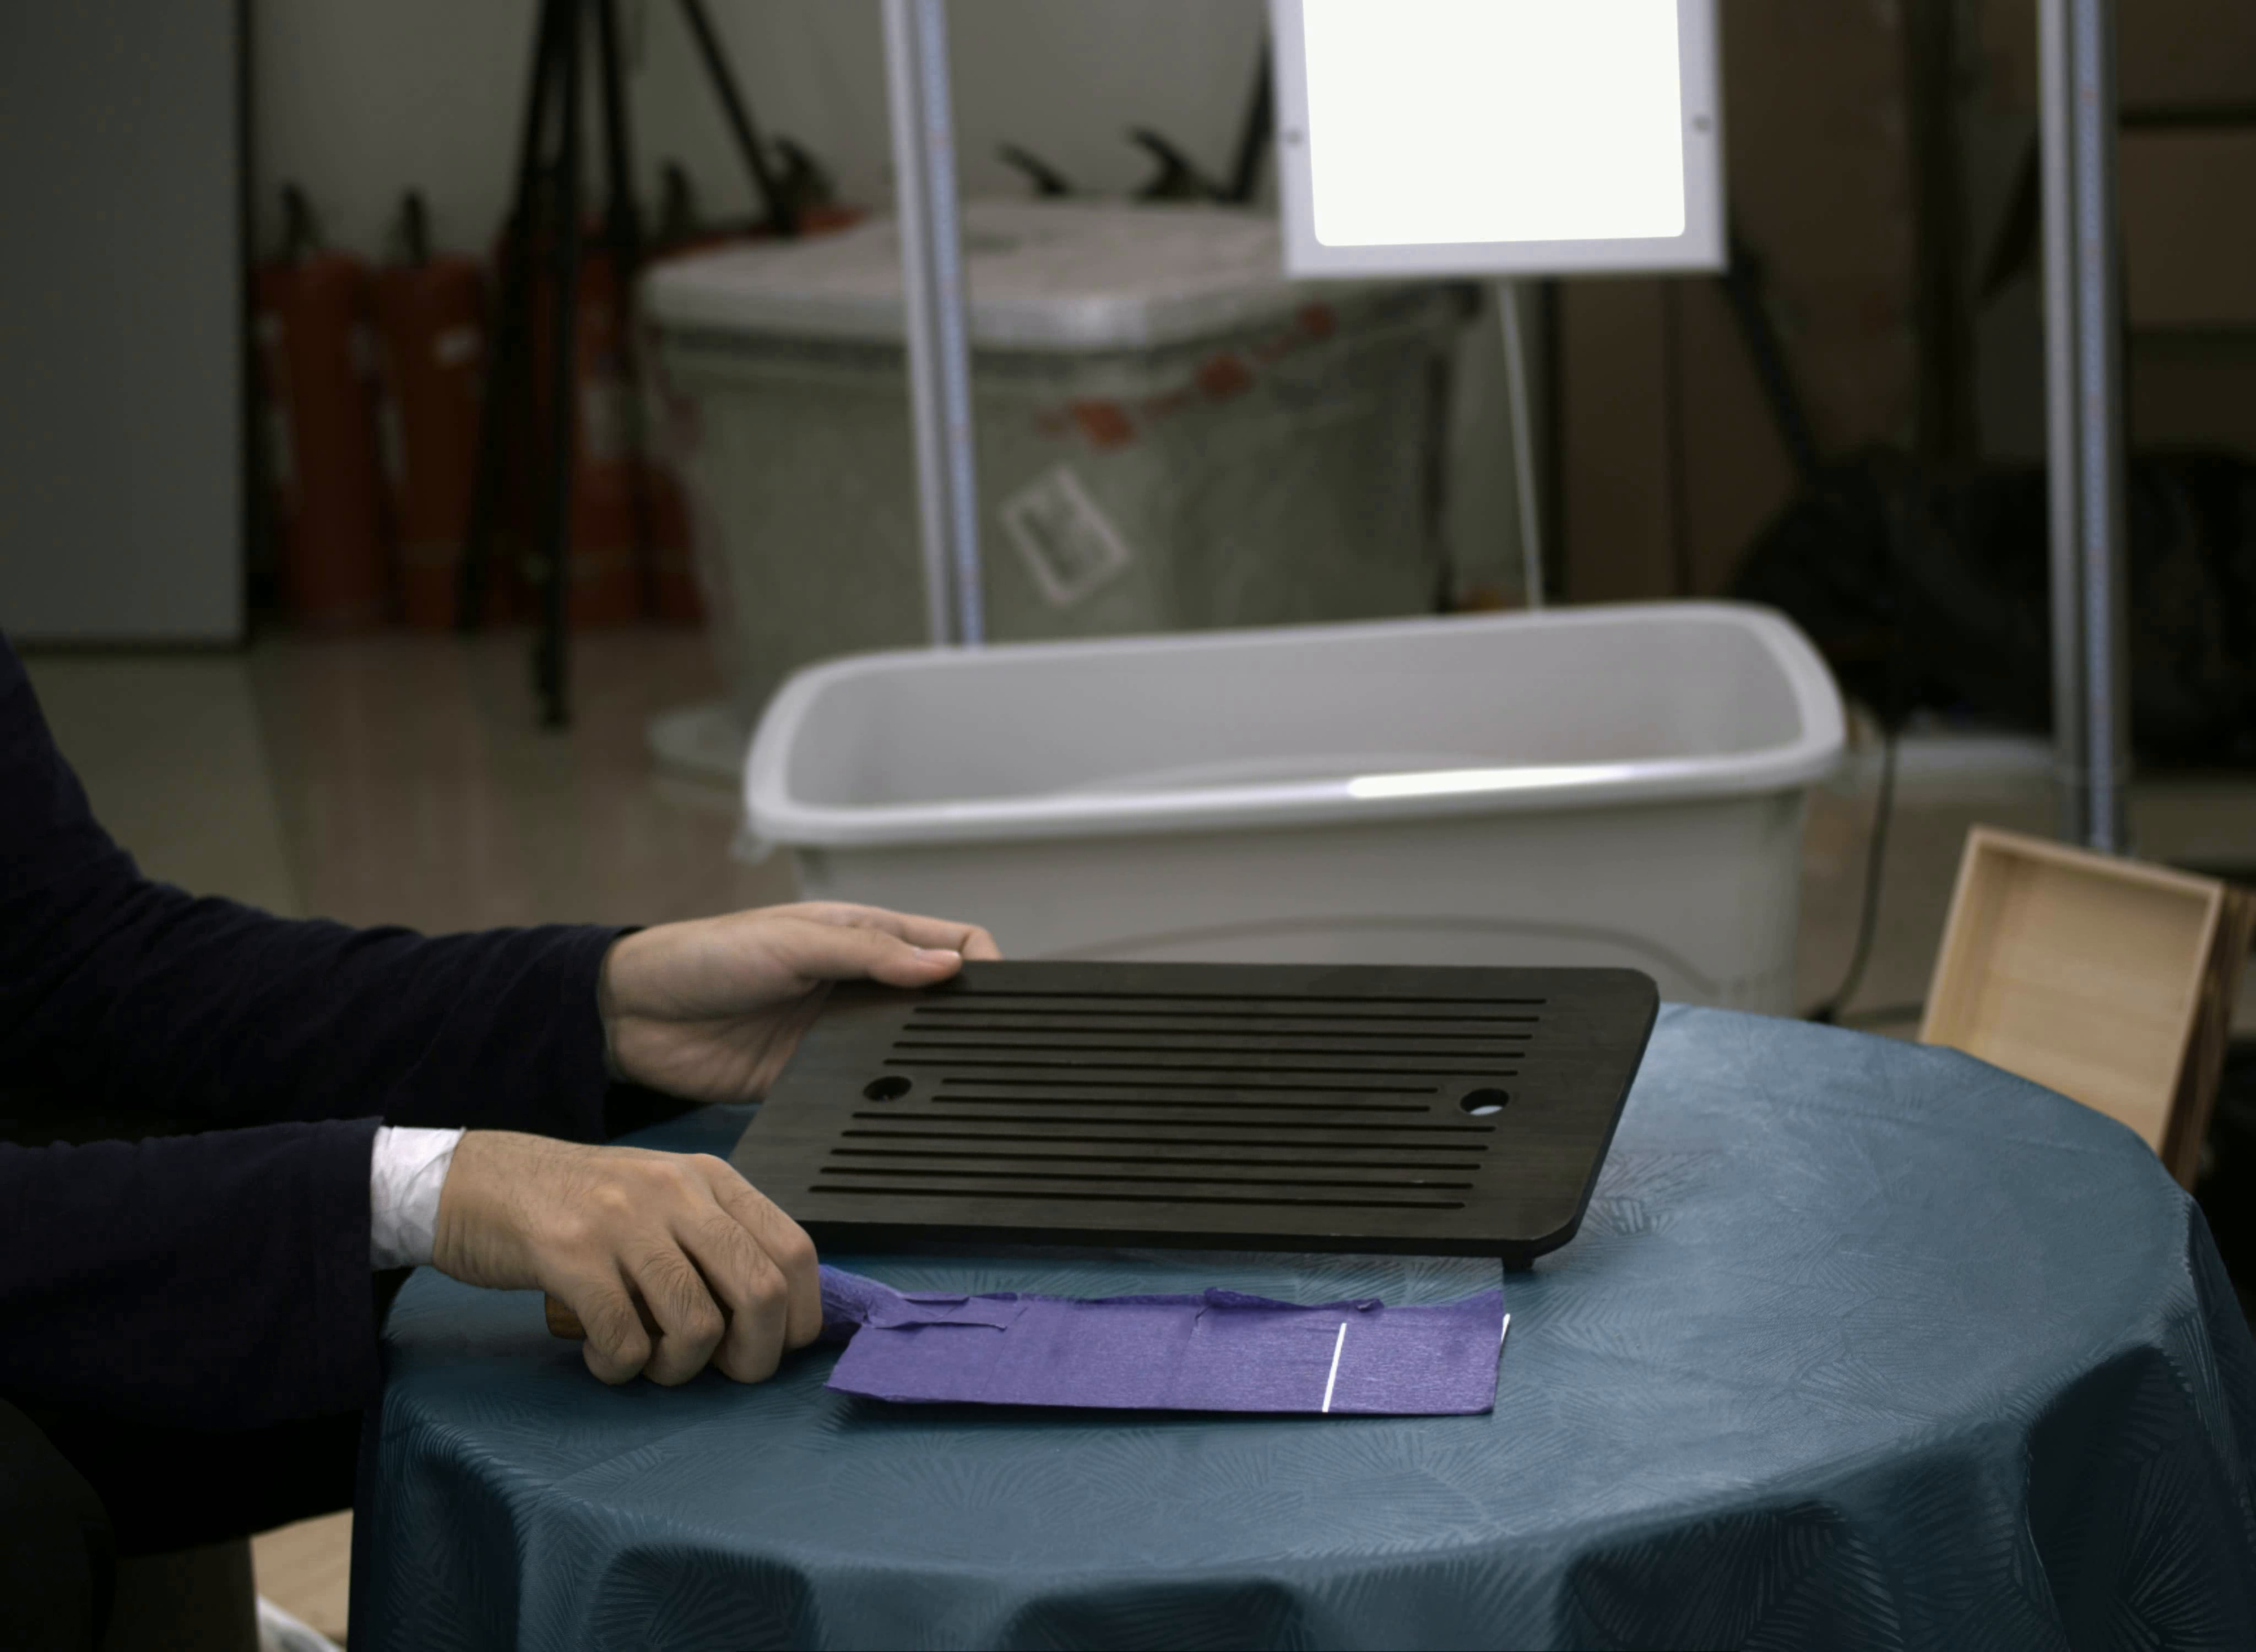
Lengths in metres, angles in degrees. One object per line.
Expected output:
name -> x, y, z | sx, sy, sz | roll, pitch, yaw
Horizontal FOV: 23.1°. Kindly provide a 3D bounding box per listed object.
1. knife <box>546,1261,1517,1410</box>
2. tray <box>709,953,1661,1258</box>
knife -> -0.036, 0.159, 1.726 | 0.317, 0.032, 0.103 | -2, 14, 11
tray -> 0.022, 0.095, 1.894 | 0.310, 0.018, 0.167 | 0, 31, 20
